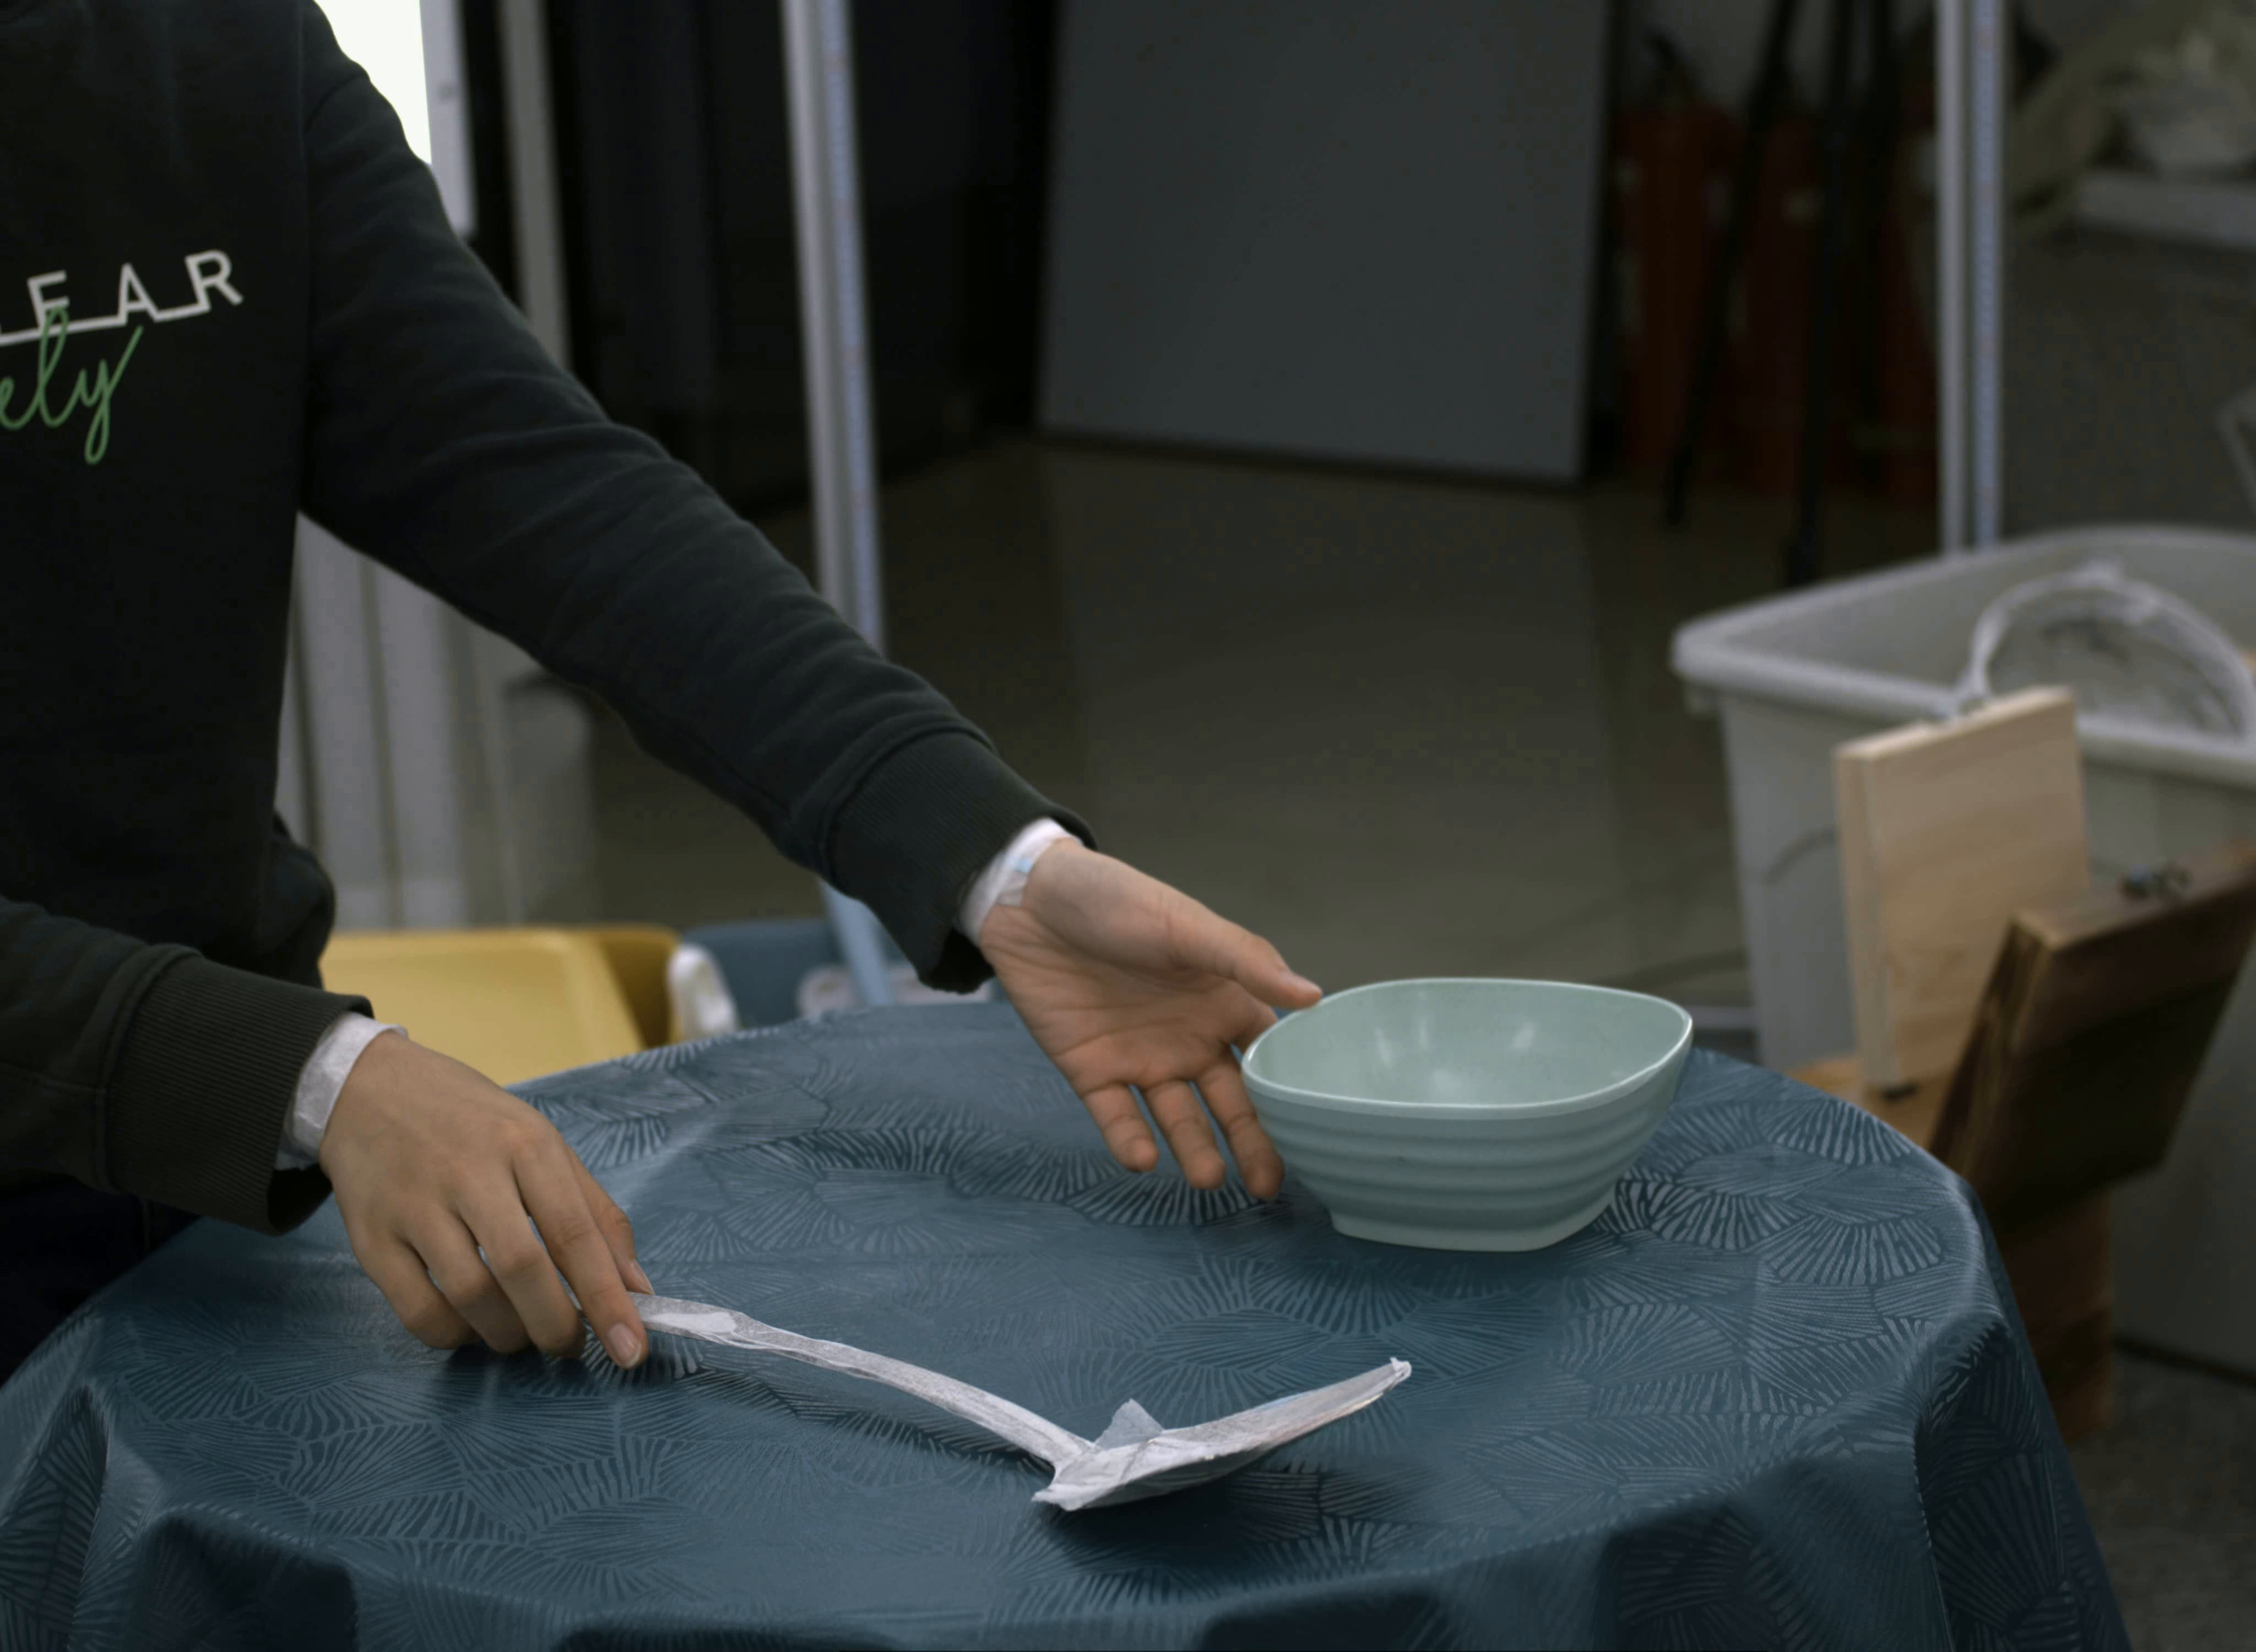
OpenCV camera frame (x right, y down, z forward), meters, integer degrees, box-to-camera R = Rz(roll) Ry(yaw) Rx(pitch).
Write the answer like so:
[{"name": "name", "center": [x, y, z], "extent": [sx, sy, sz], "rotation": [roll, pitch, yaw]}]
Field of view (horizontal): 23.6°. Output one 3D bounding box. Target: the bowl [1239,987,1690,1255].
[{"name": "bowl", "center": [0.108, 0.097, 1.722], "extent": [0.149, 0.059, 0.151], "rotation": [-2, 12, -1]}]

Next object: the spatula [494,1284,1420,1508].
[{"name": "spatula", "center": [-0.072, 0.154, 1.577], "extent": [0.368, 0.045, 0.097], "rotation": [9, 21, 43]}]
